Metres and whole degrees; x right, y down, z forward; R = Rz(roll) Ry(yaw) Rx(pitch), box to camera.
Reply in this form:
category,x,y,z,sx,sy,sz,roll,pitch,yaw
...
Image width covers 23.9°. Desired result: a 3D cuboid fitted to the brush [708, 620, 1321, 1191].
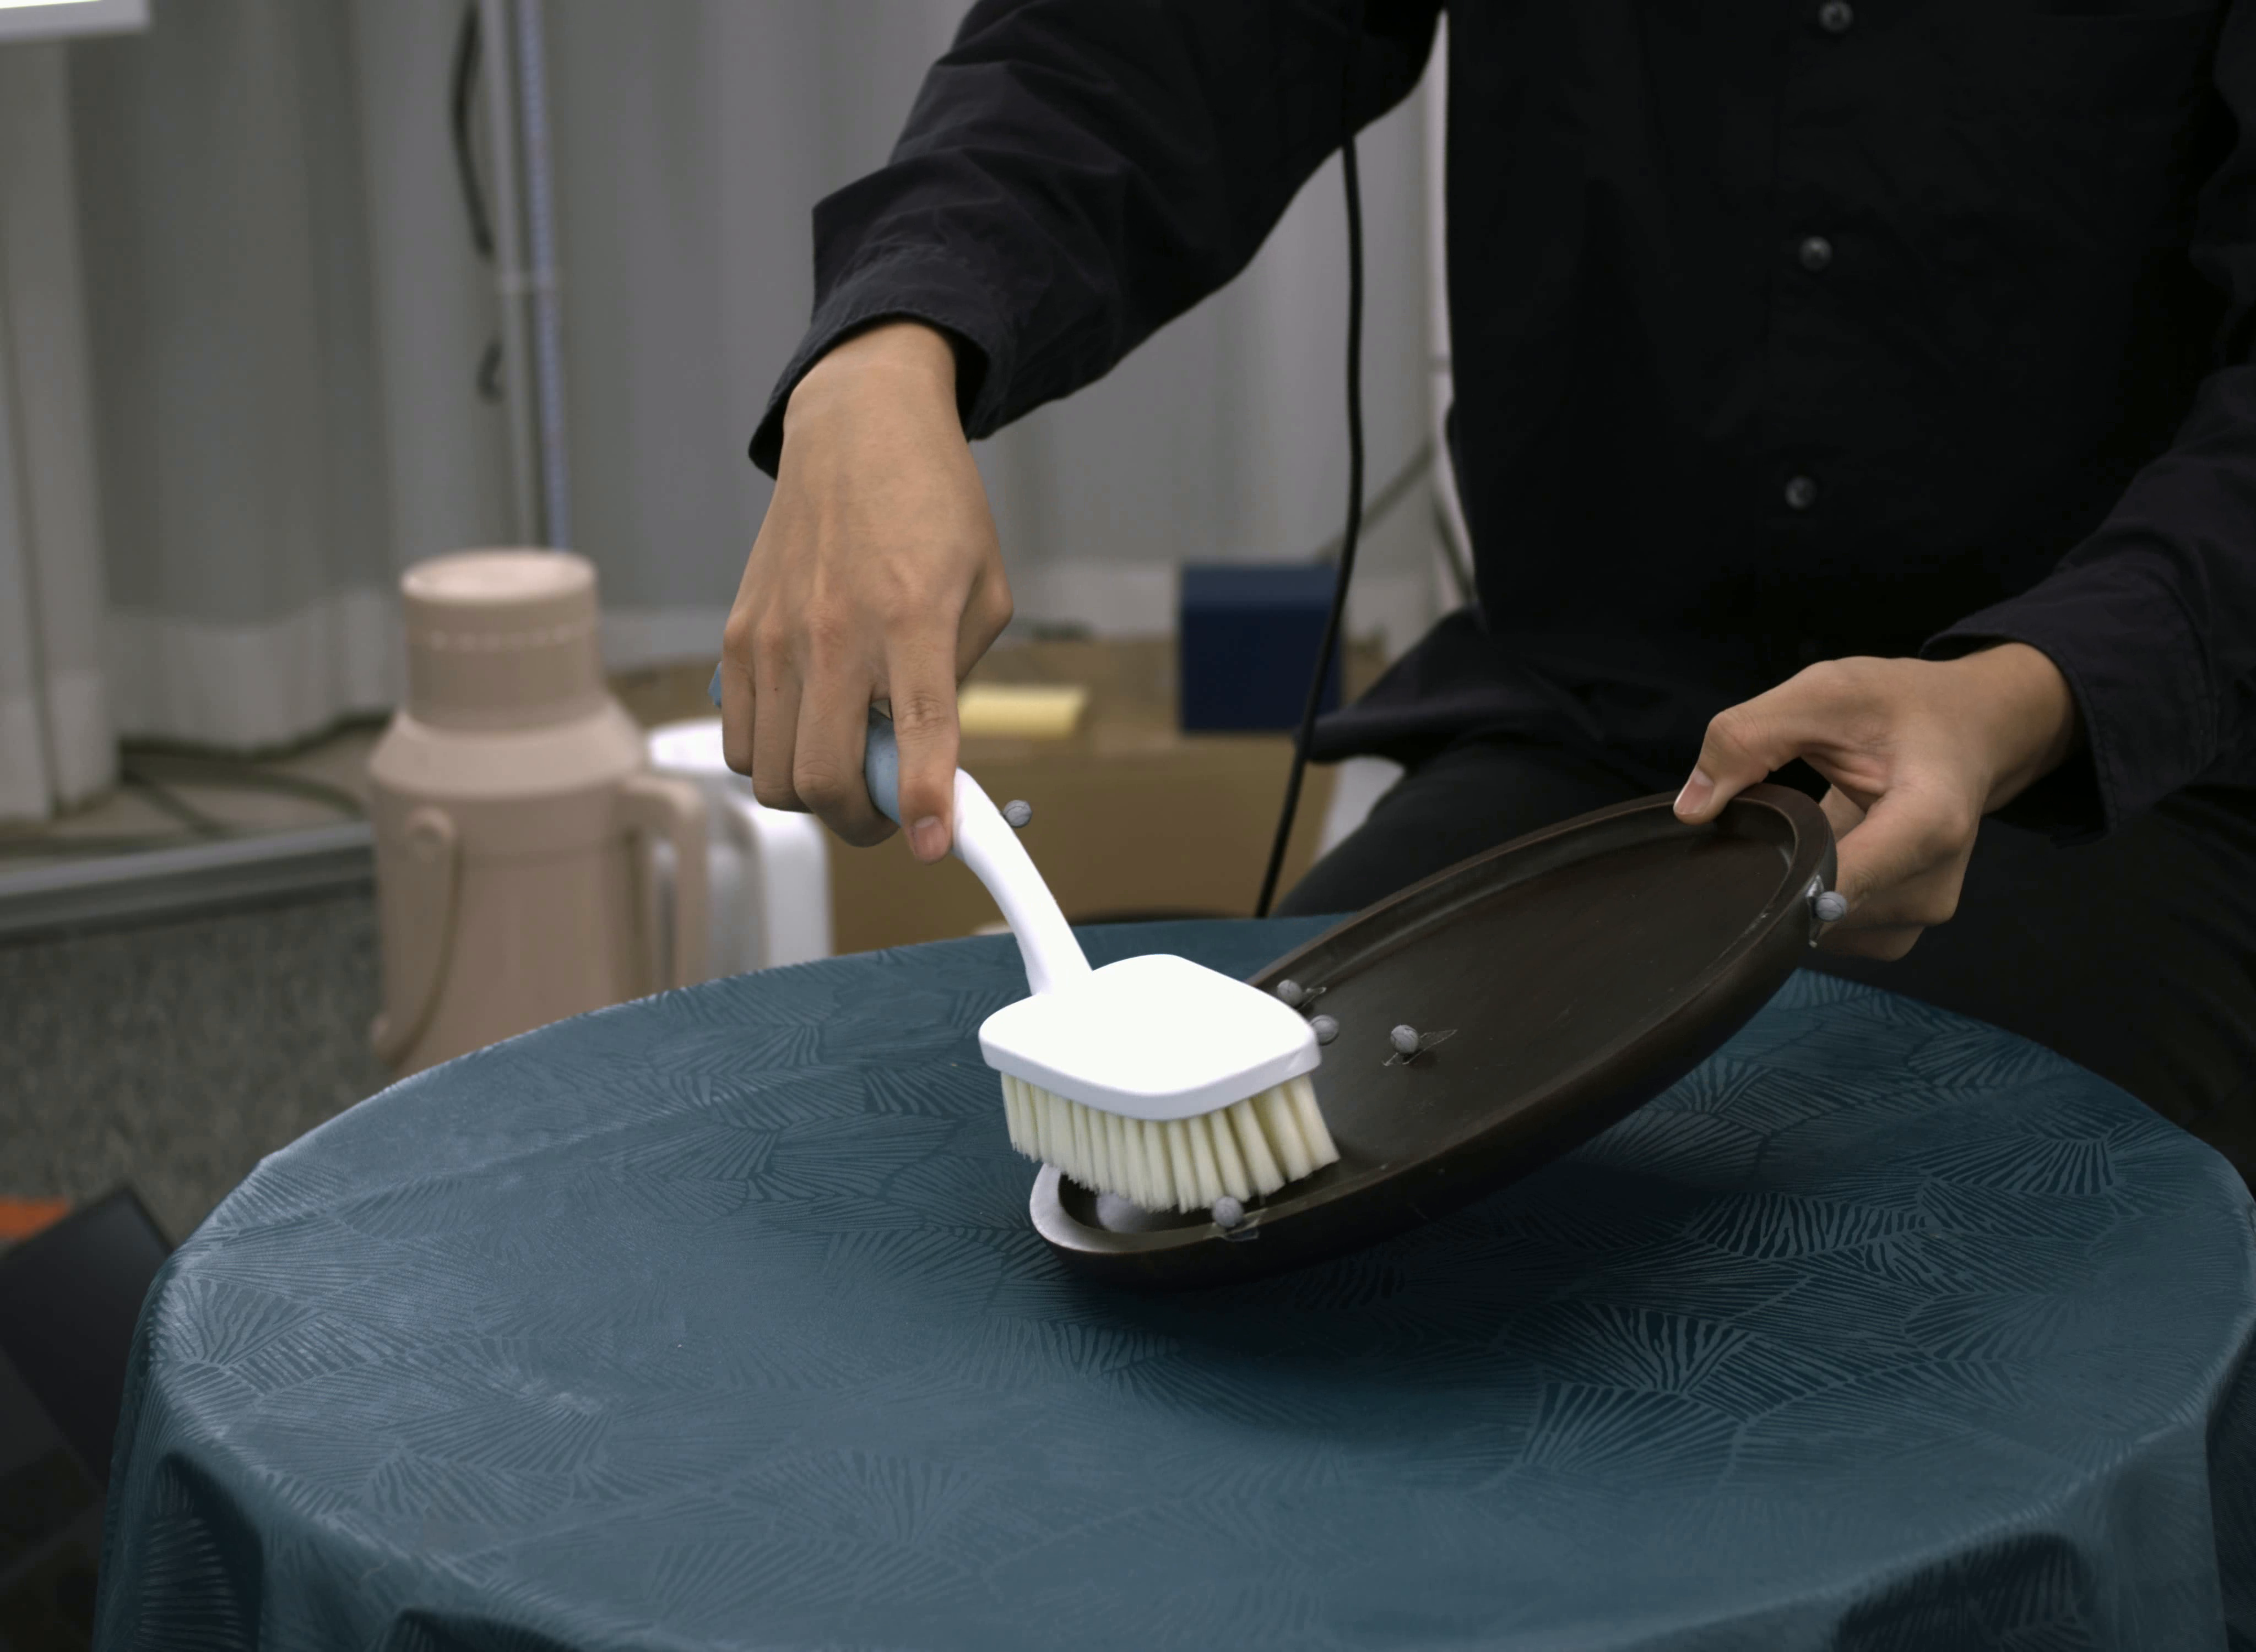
category,x,y,z,sx,sy,sz,roll,pitch,yaw
brush,-0.037,0.033,1.576,0.081,0.085,0.333,20,10,-37

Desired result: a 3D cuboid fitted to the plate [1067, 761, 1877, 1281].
category,x,y,z,sx,sy,sz,roll,pitch,yaw
plate,0.098,0.055,1.497,0.255,0.029,0.256,-29,12,4
